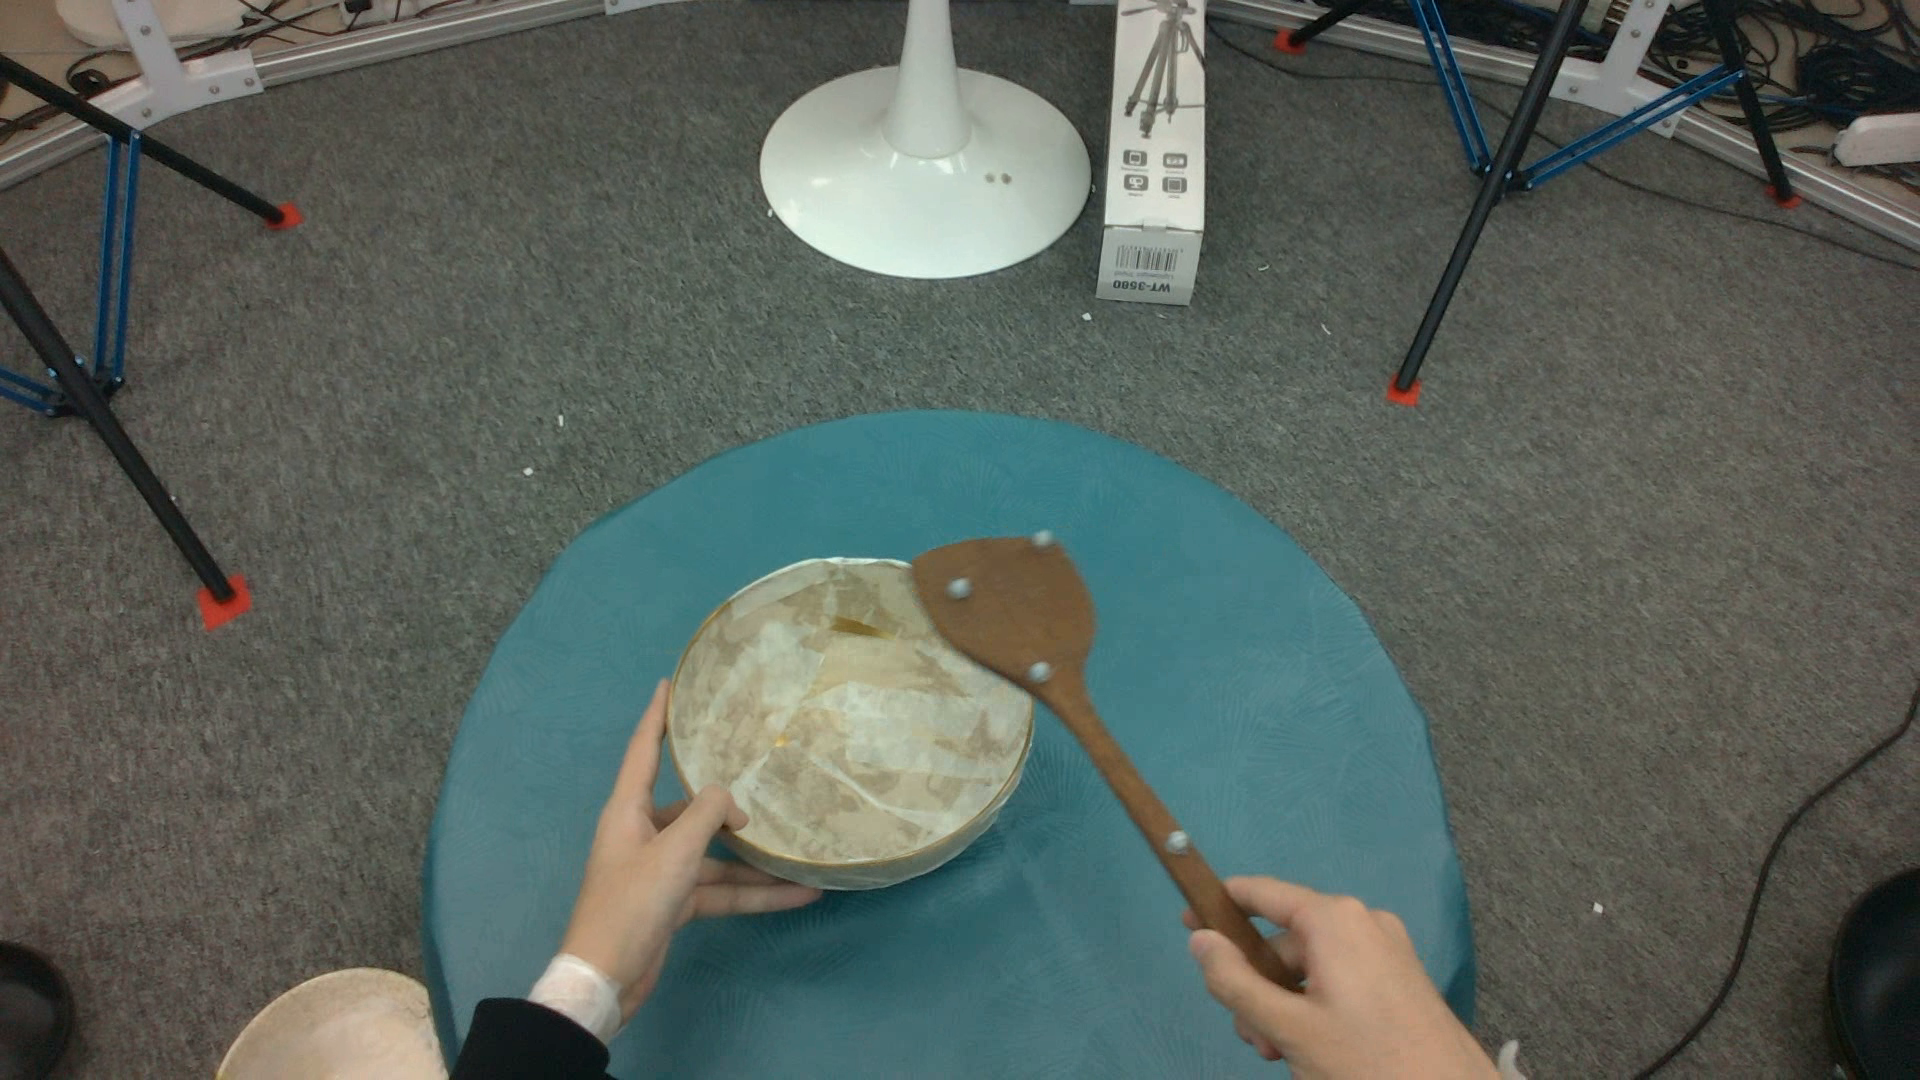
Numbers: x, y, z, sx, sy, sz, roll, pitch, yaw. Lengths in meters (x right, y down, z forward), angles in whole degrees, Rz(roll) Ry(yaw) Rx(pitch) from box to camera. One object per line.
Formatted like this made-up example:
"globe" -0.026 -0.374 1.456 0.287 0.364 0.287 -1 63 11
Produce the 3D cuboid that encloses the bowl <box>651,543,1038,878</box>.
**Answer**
"bowl" -0.065 0.109 0.775 0.215 0.094 0.215 3 49 -3

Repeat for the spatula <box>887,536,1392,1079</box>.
"spatula" 0.082 0.118 0.608 0.096 0.016 0.387 -8 41 -29
